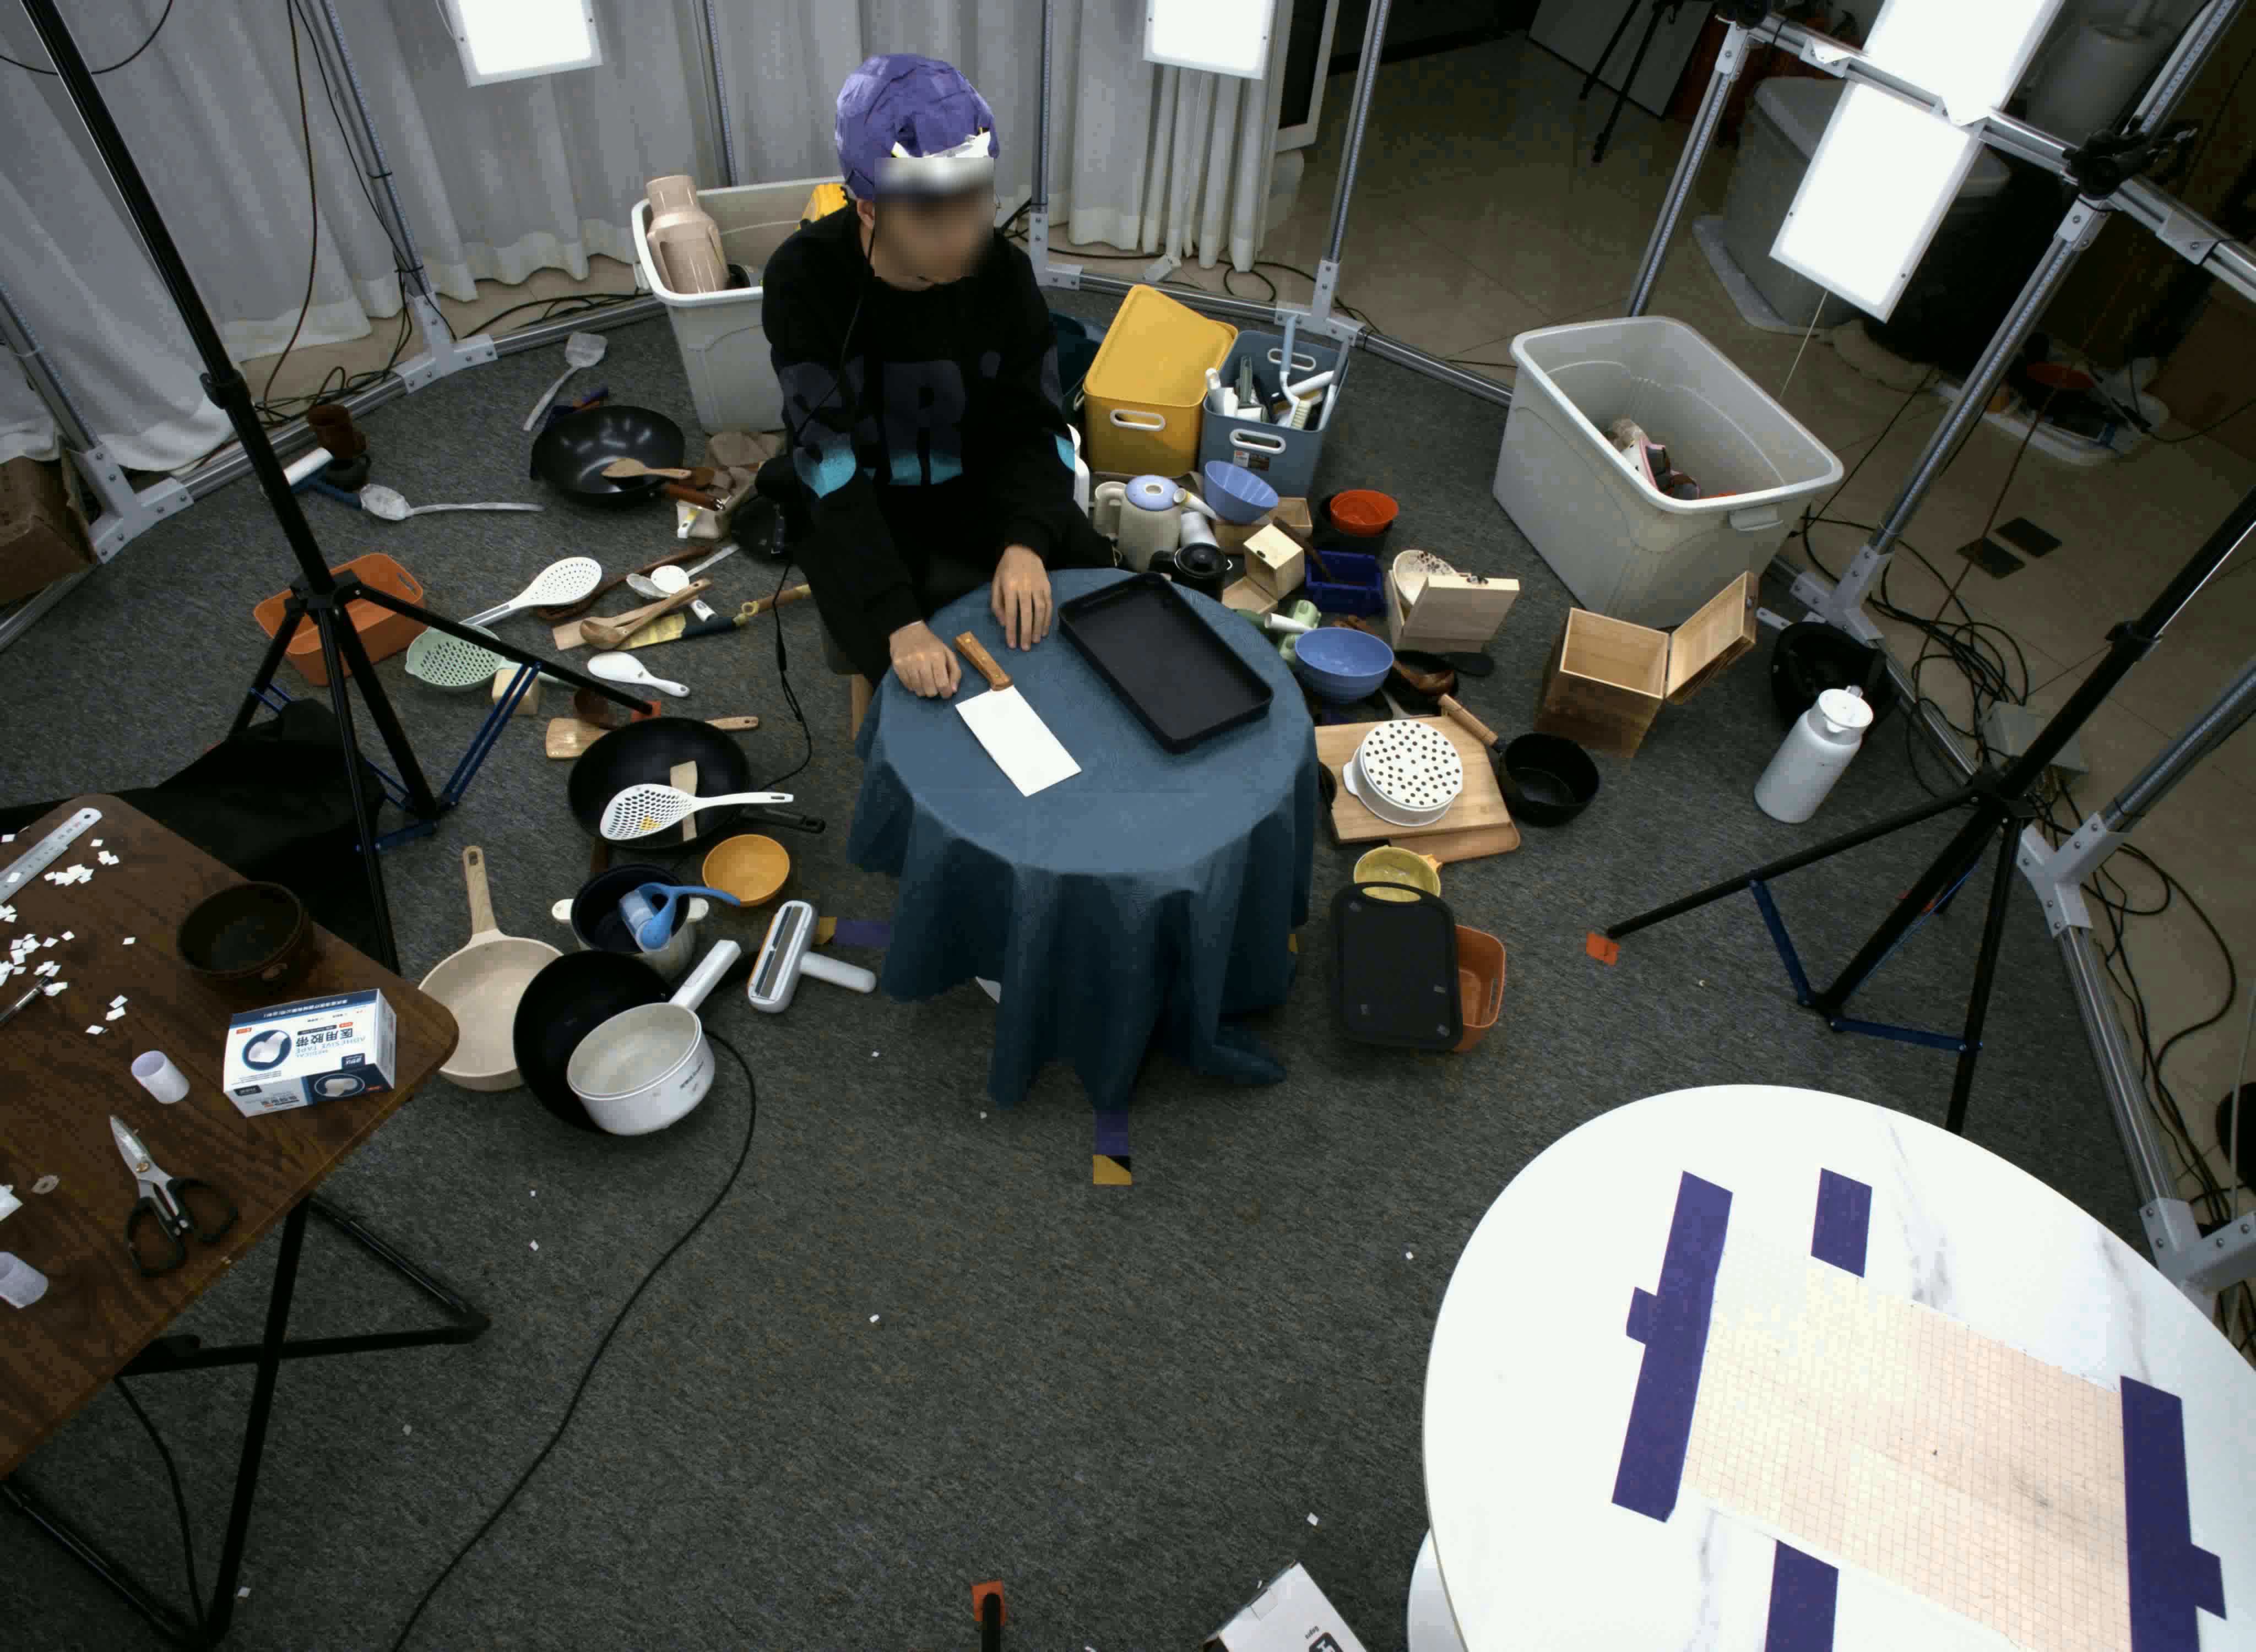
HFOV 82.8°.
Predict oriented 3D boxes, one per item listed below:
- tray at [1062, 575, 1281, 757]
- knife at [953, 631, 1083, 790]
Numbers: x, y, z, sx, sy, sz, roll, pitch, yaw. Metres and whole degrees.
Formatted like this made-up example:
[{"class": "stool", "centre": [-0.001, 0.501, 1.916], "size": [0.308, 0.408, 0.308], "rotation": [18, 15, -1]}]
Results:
[{"class": "tray", "centre": [0.058, -0.238, 1.855], "size": [0.185, 0.036, 0.324], "rotation": [-26, 55, -23]}, {"class": "knife", "centre": [-0.178, -0.161, 1.787], "size": [0.093, 0.020, 0.312], "rotation": [-26, 58, -22]}]
